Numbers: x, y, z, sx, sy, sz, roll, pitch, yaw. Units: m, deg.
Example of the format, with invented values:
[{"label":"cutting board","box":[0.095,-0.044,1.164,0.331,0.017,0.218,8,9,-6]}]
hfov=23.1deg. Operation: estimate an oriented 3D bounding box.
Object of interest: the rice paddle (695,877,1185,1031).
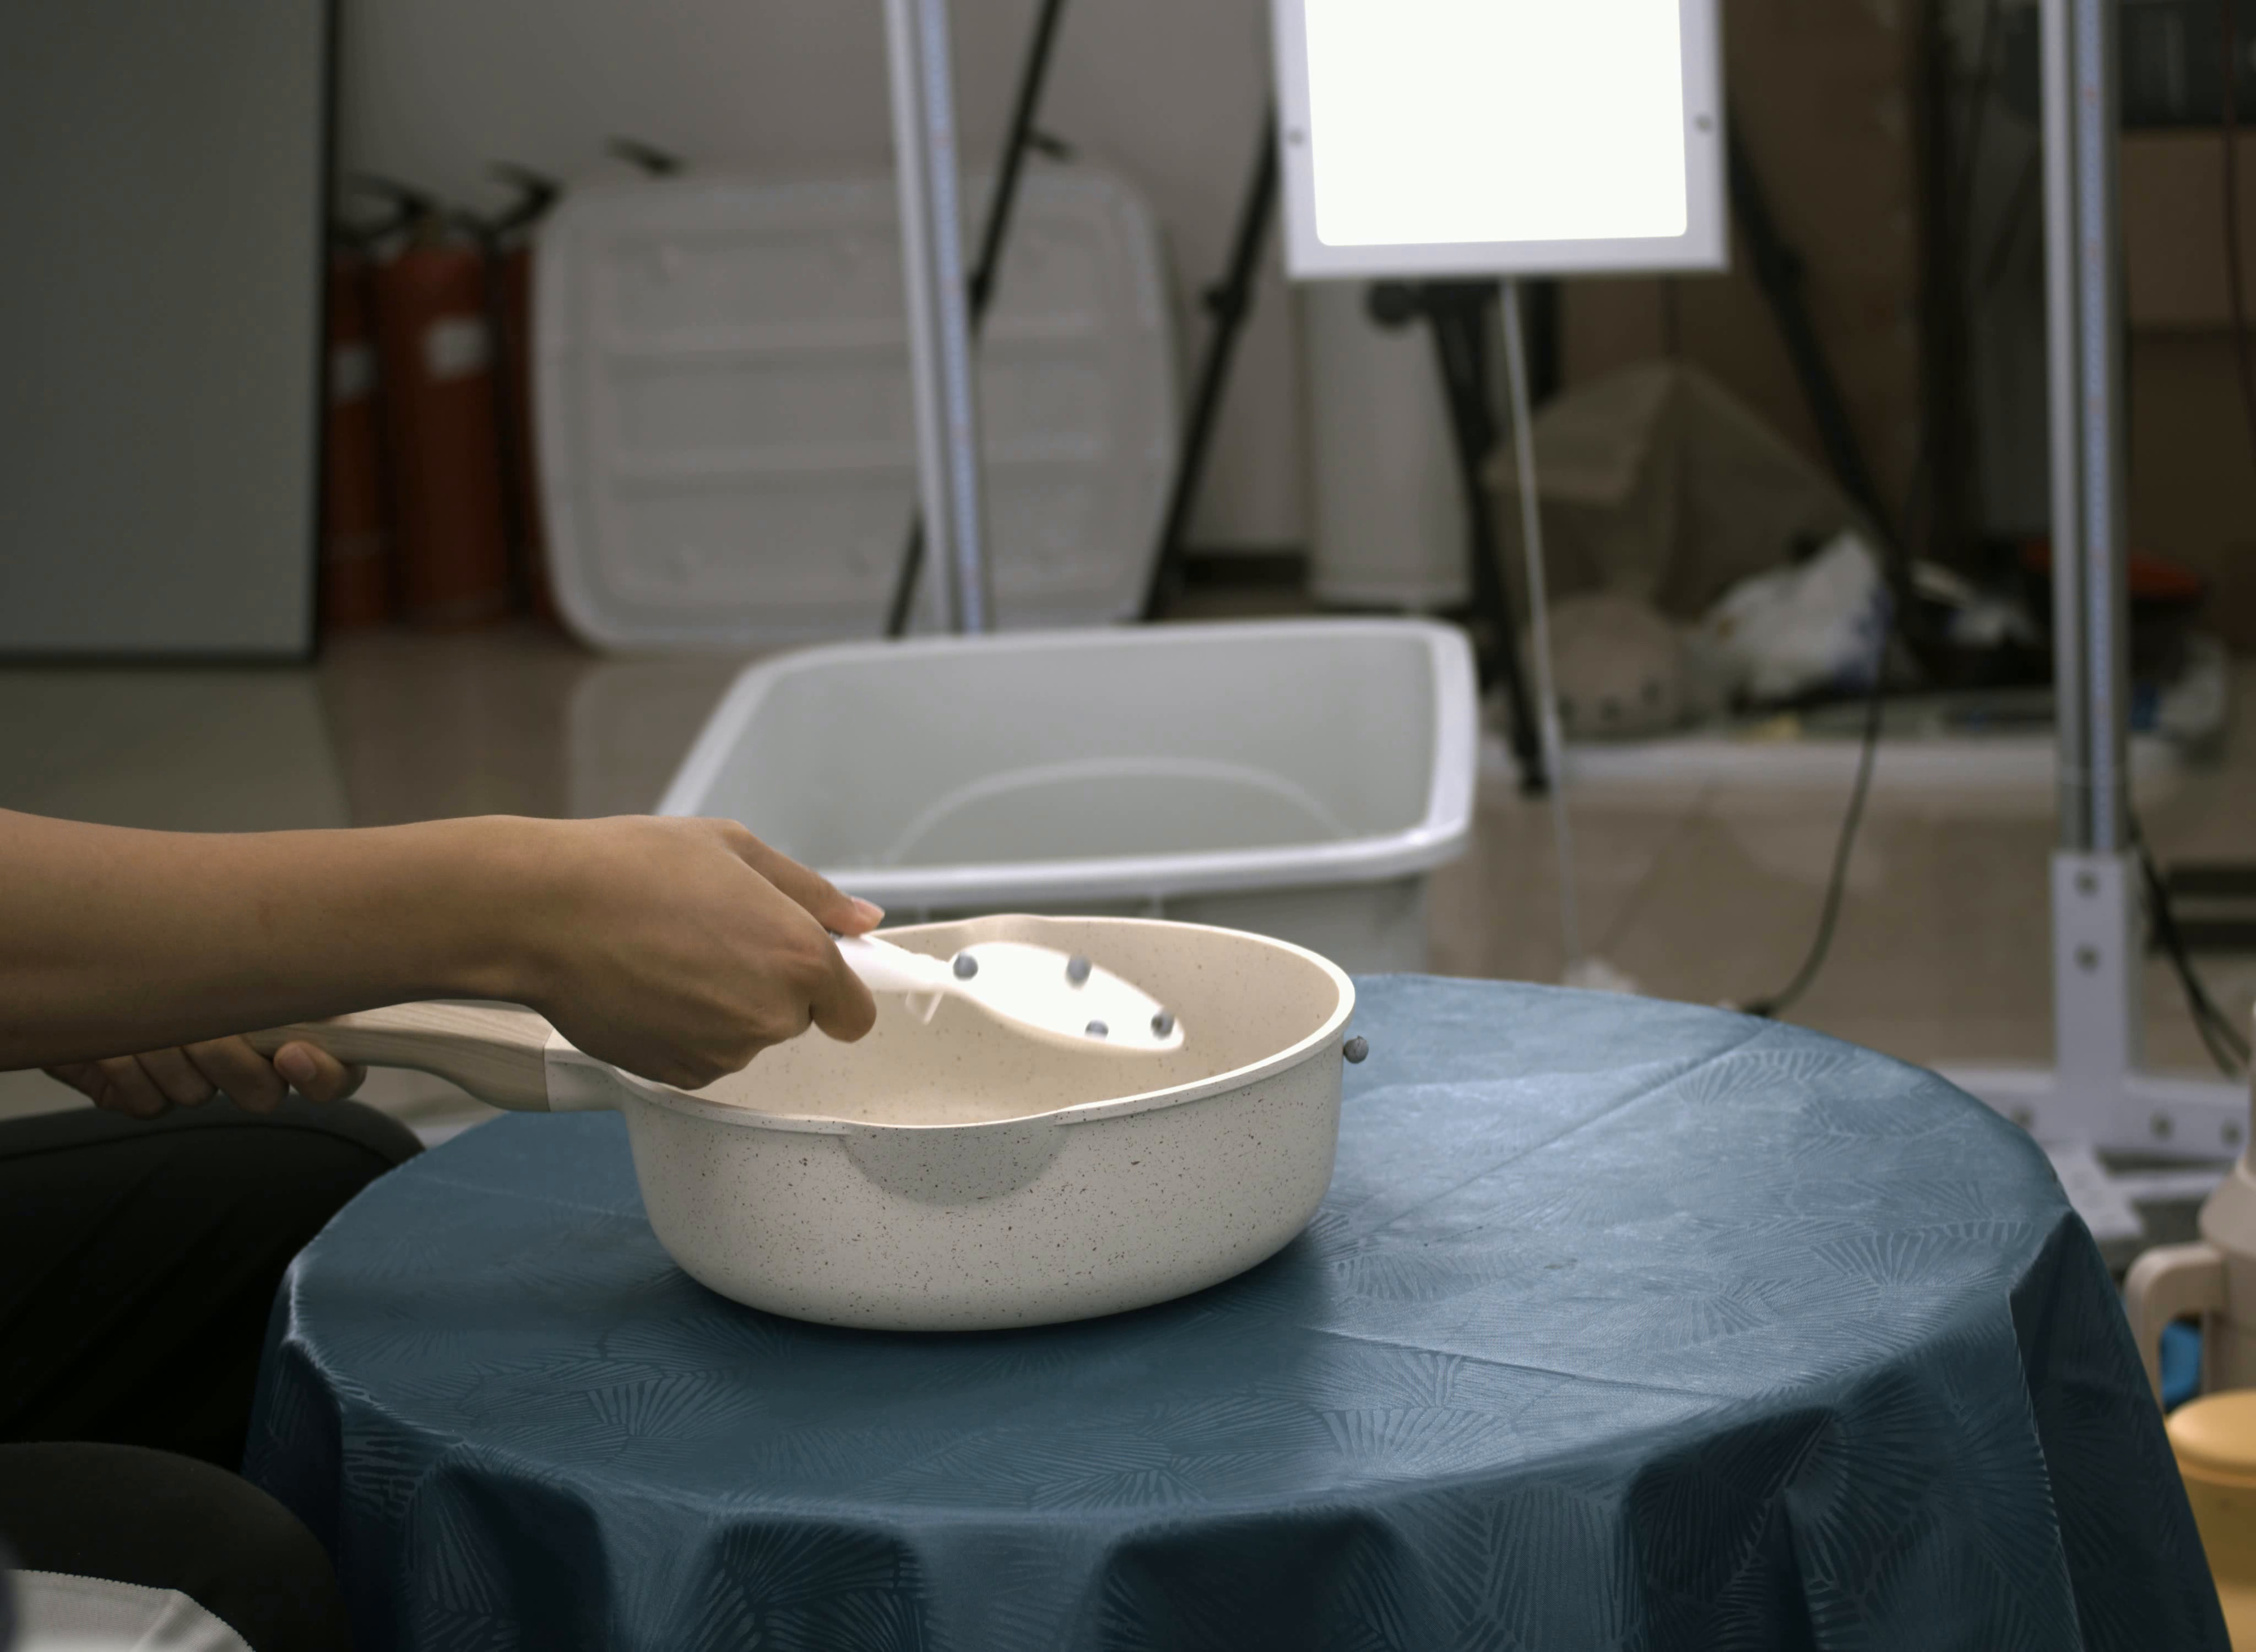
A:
[{"label":"rice paddle","box":[-0.057,0.043,1.840,0.200,0.030,0.070,10,21,-42]}]

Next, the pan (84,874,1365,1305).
[{"label":"pan","box":[-0.133,0.090,1.871,0.436,0.102,0.262,-4,15,5]}]
